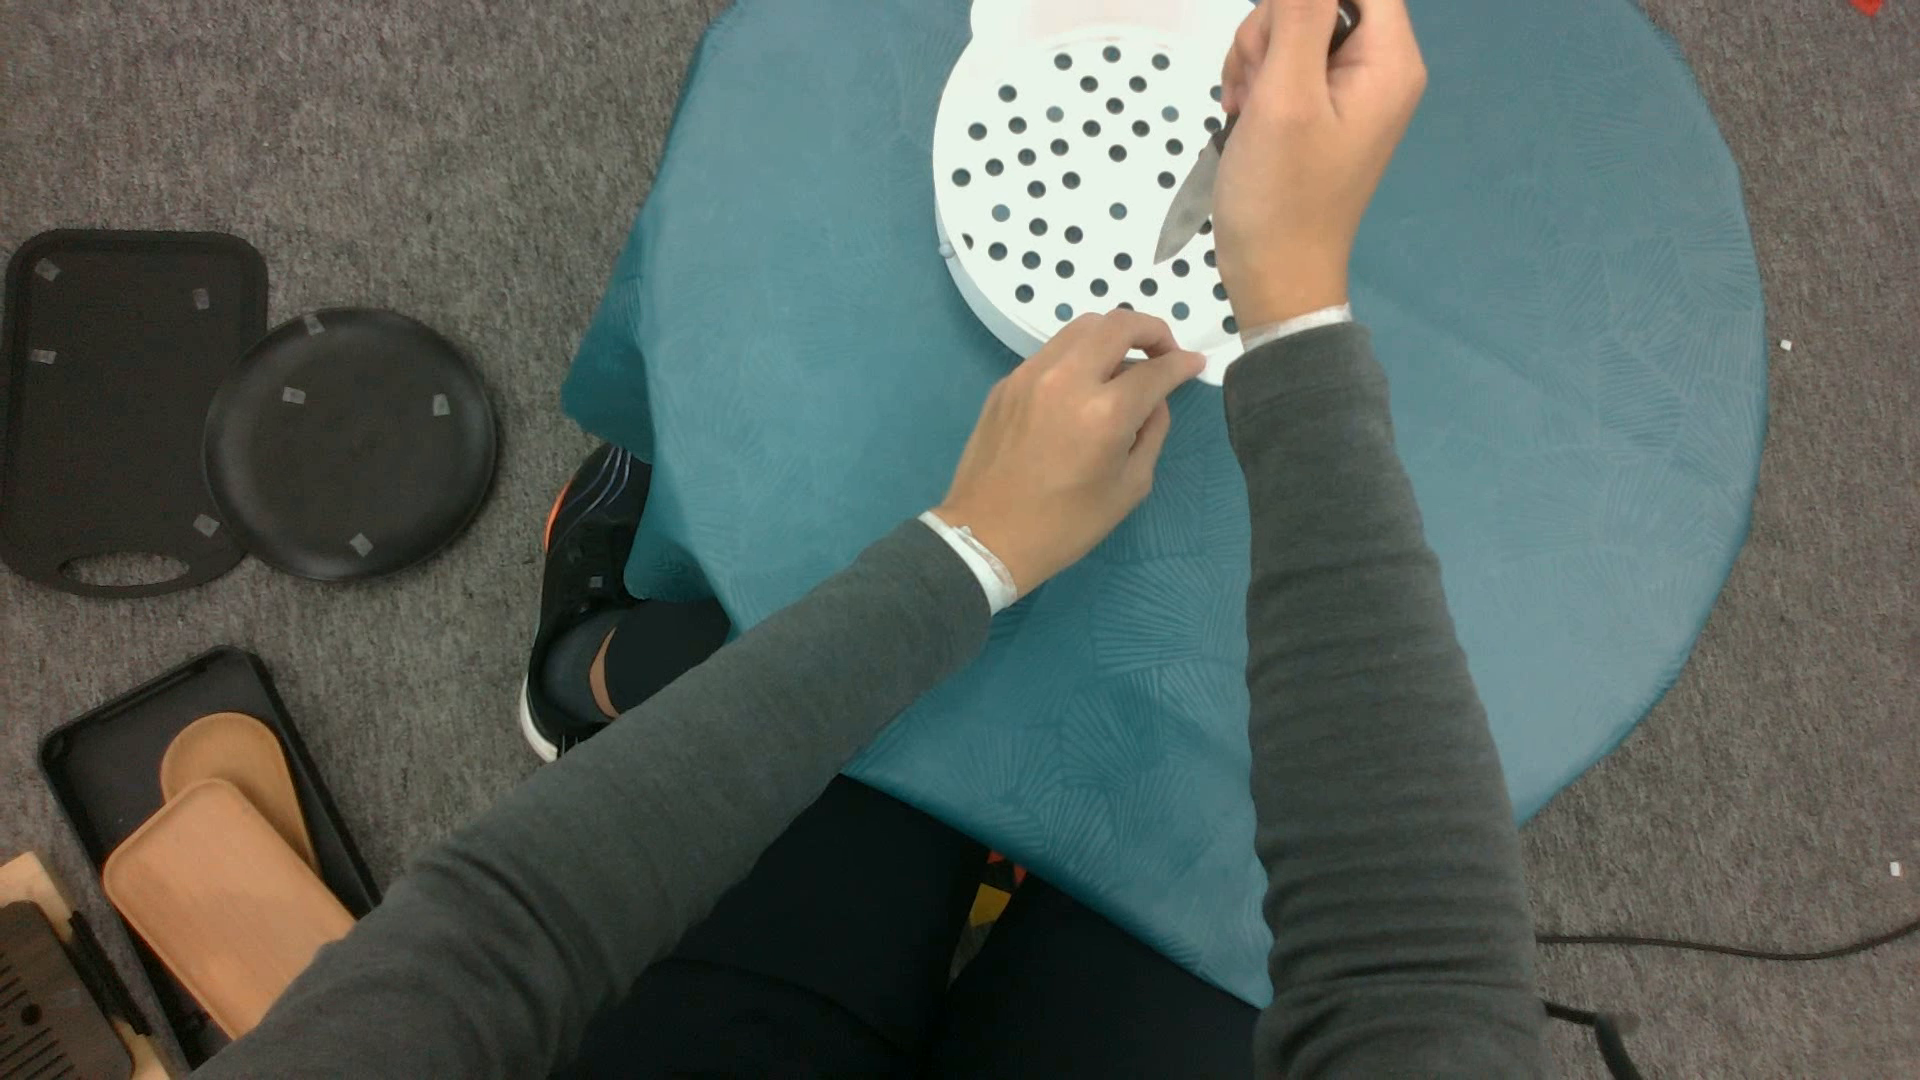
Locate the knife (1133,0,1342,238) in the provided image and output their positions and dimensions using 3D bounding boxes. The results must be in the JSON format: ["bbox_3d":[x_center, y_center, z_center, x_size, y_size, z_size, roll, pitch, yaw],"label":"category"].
[{"bbox_3d":[0.106,-0.167,0.576,0.016,0.237,0.024,-20,85,-11],"label":"knife"}]

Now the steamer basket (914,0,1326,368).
[{"bbox_3d":[0.076,-0.186,0.689,0.202,0.069,0.230,-31,87,-8],"label":"steamer basket"}]
